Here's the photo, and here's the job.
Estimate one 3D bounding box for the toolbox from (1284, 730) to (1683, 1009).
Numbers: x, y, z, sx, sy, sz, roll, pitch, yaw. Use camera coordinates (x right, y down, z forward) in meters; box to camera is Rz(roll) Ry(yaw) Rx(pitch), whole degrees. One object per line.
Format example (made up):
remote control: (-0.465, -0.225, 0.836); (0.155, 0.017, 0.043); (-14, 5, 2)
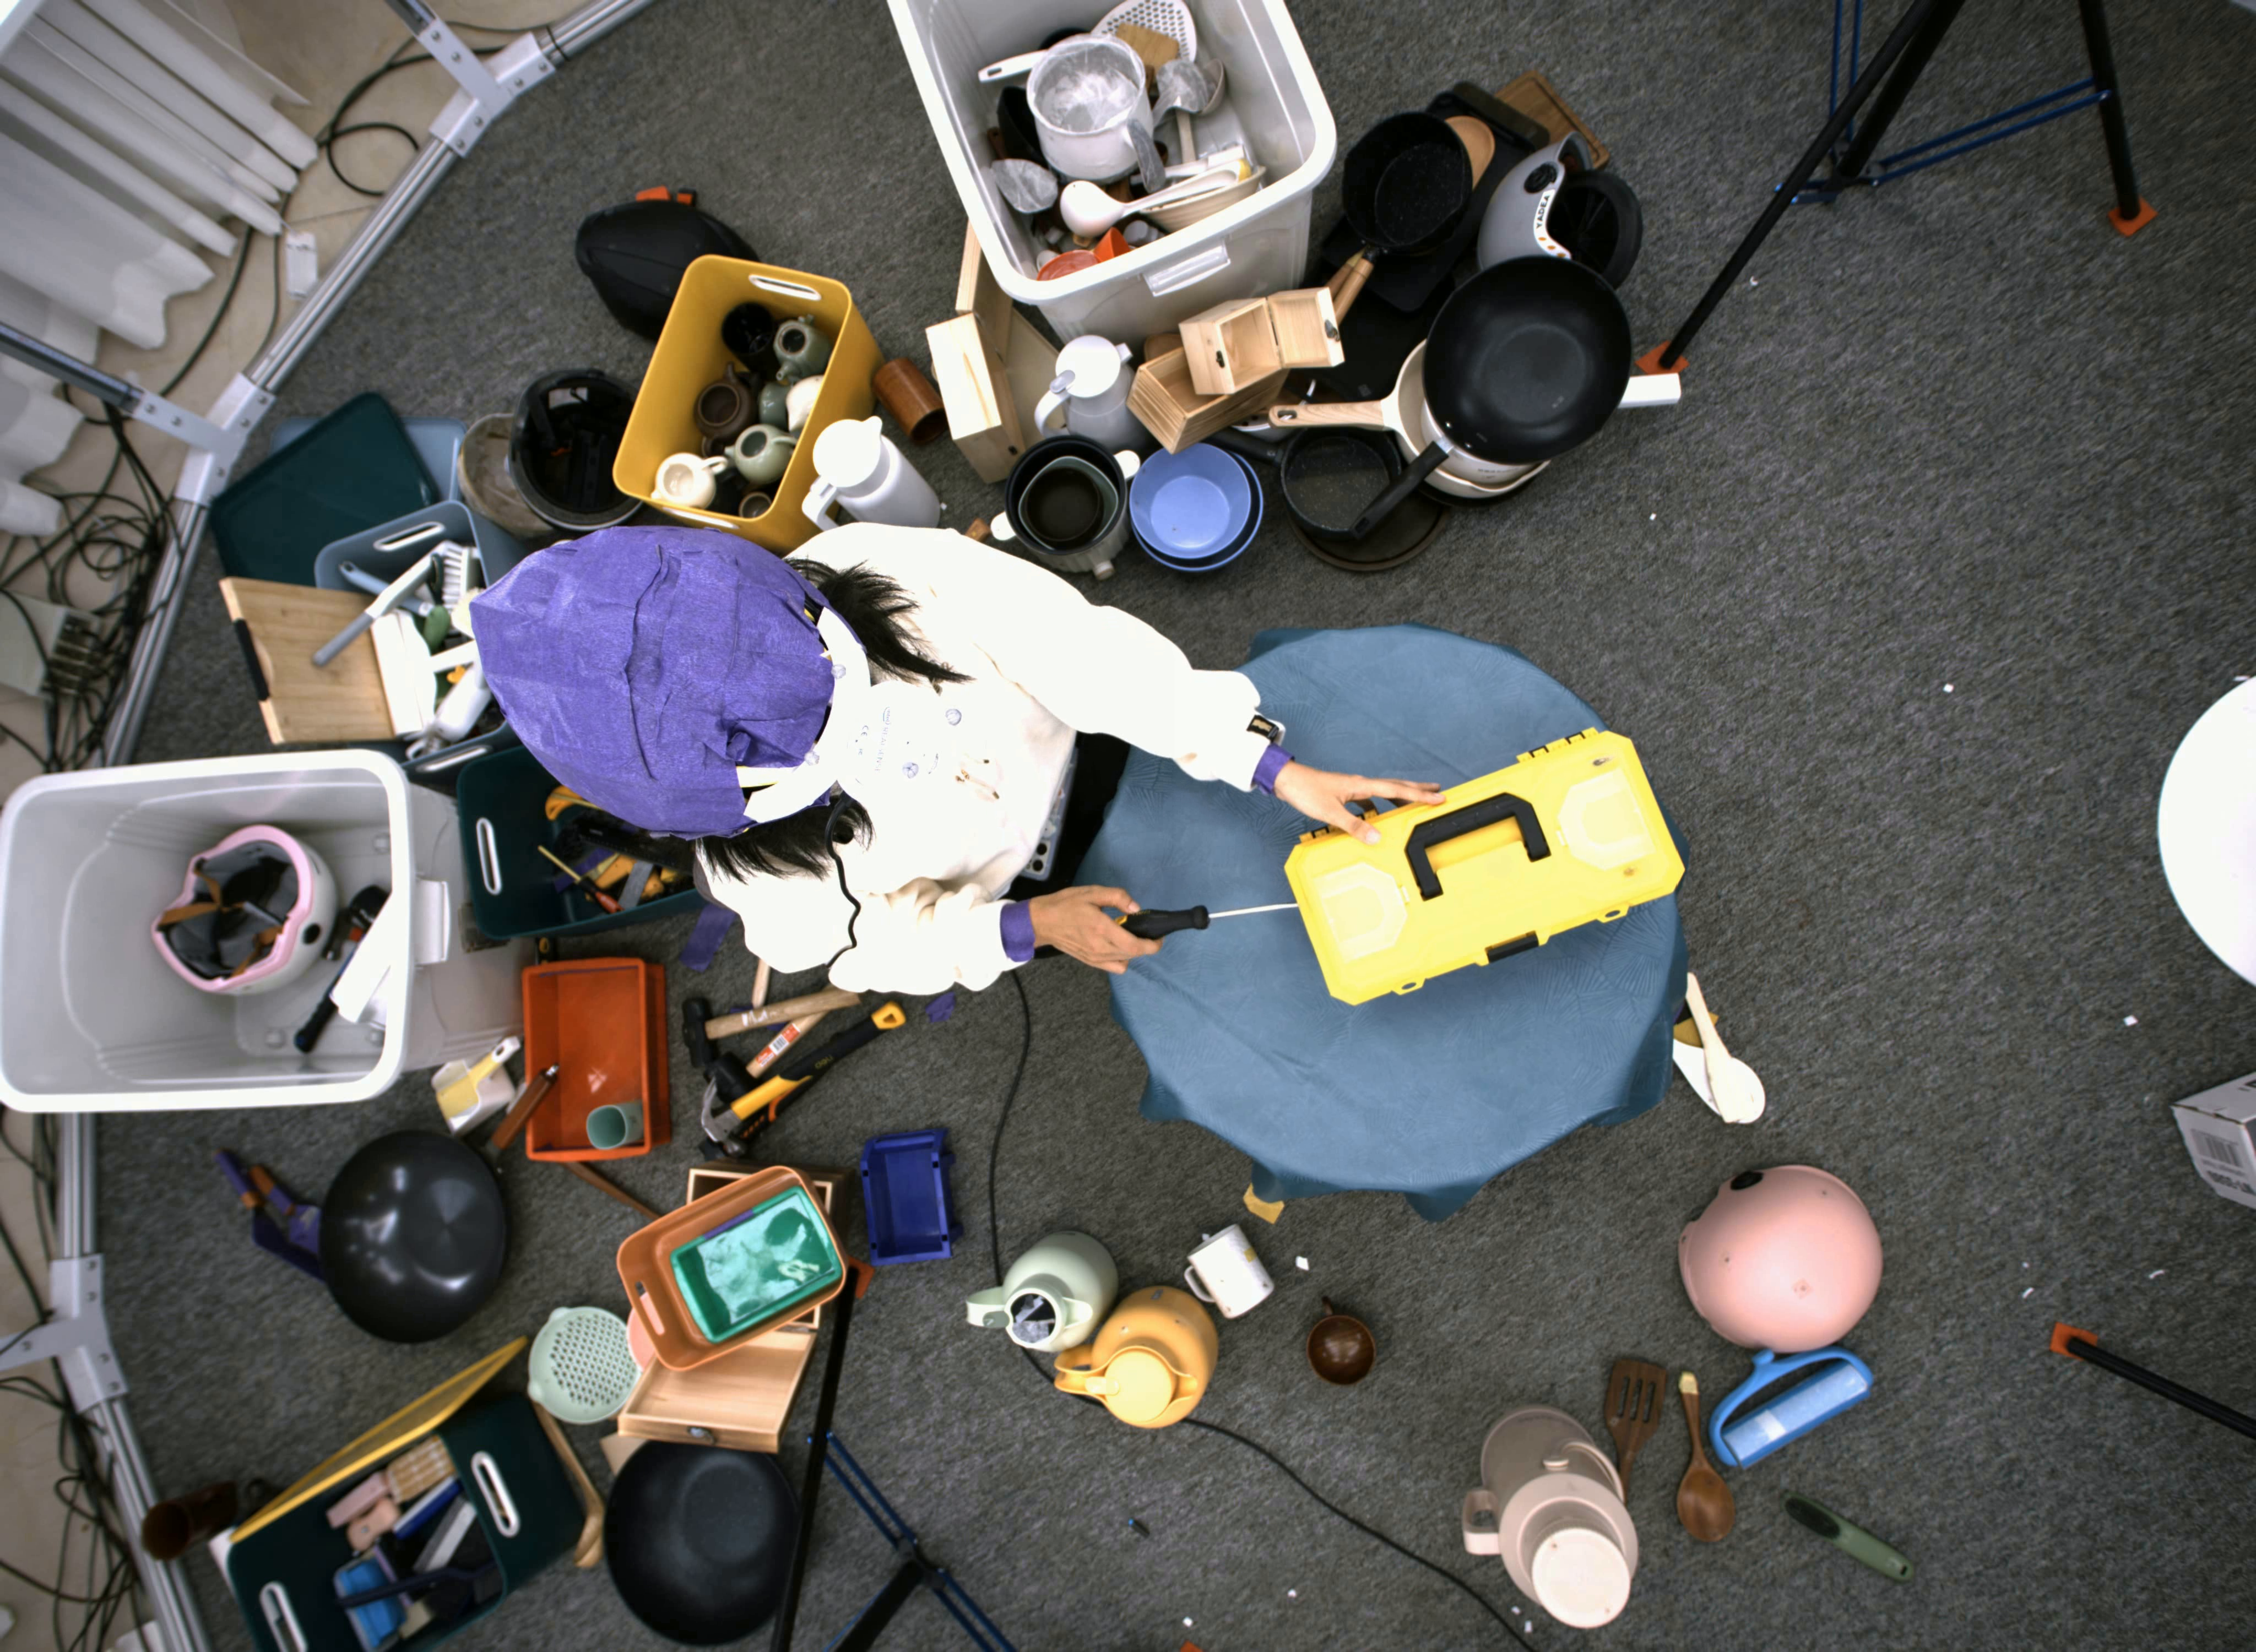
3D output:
toolbox: (0.344, 0.045, 1.360); (0.353, 0.173, 0.180); (-20, 82, 8)

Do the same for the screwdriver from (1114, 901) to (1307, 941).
screwdriver: (0.080, 0.089, 1.359); (0.199, 0.031, 0.031); (-9, 83, 19)
